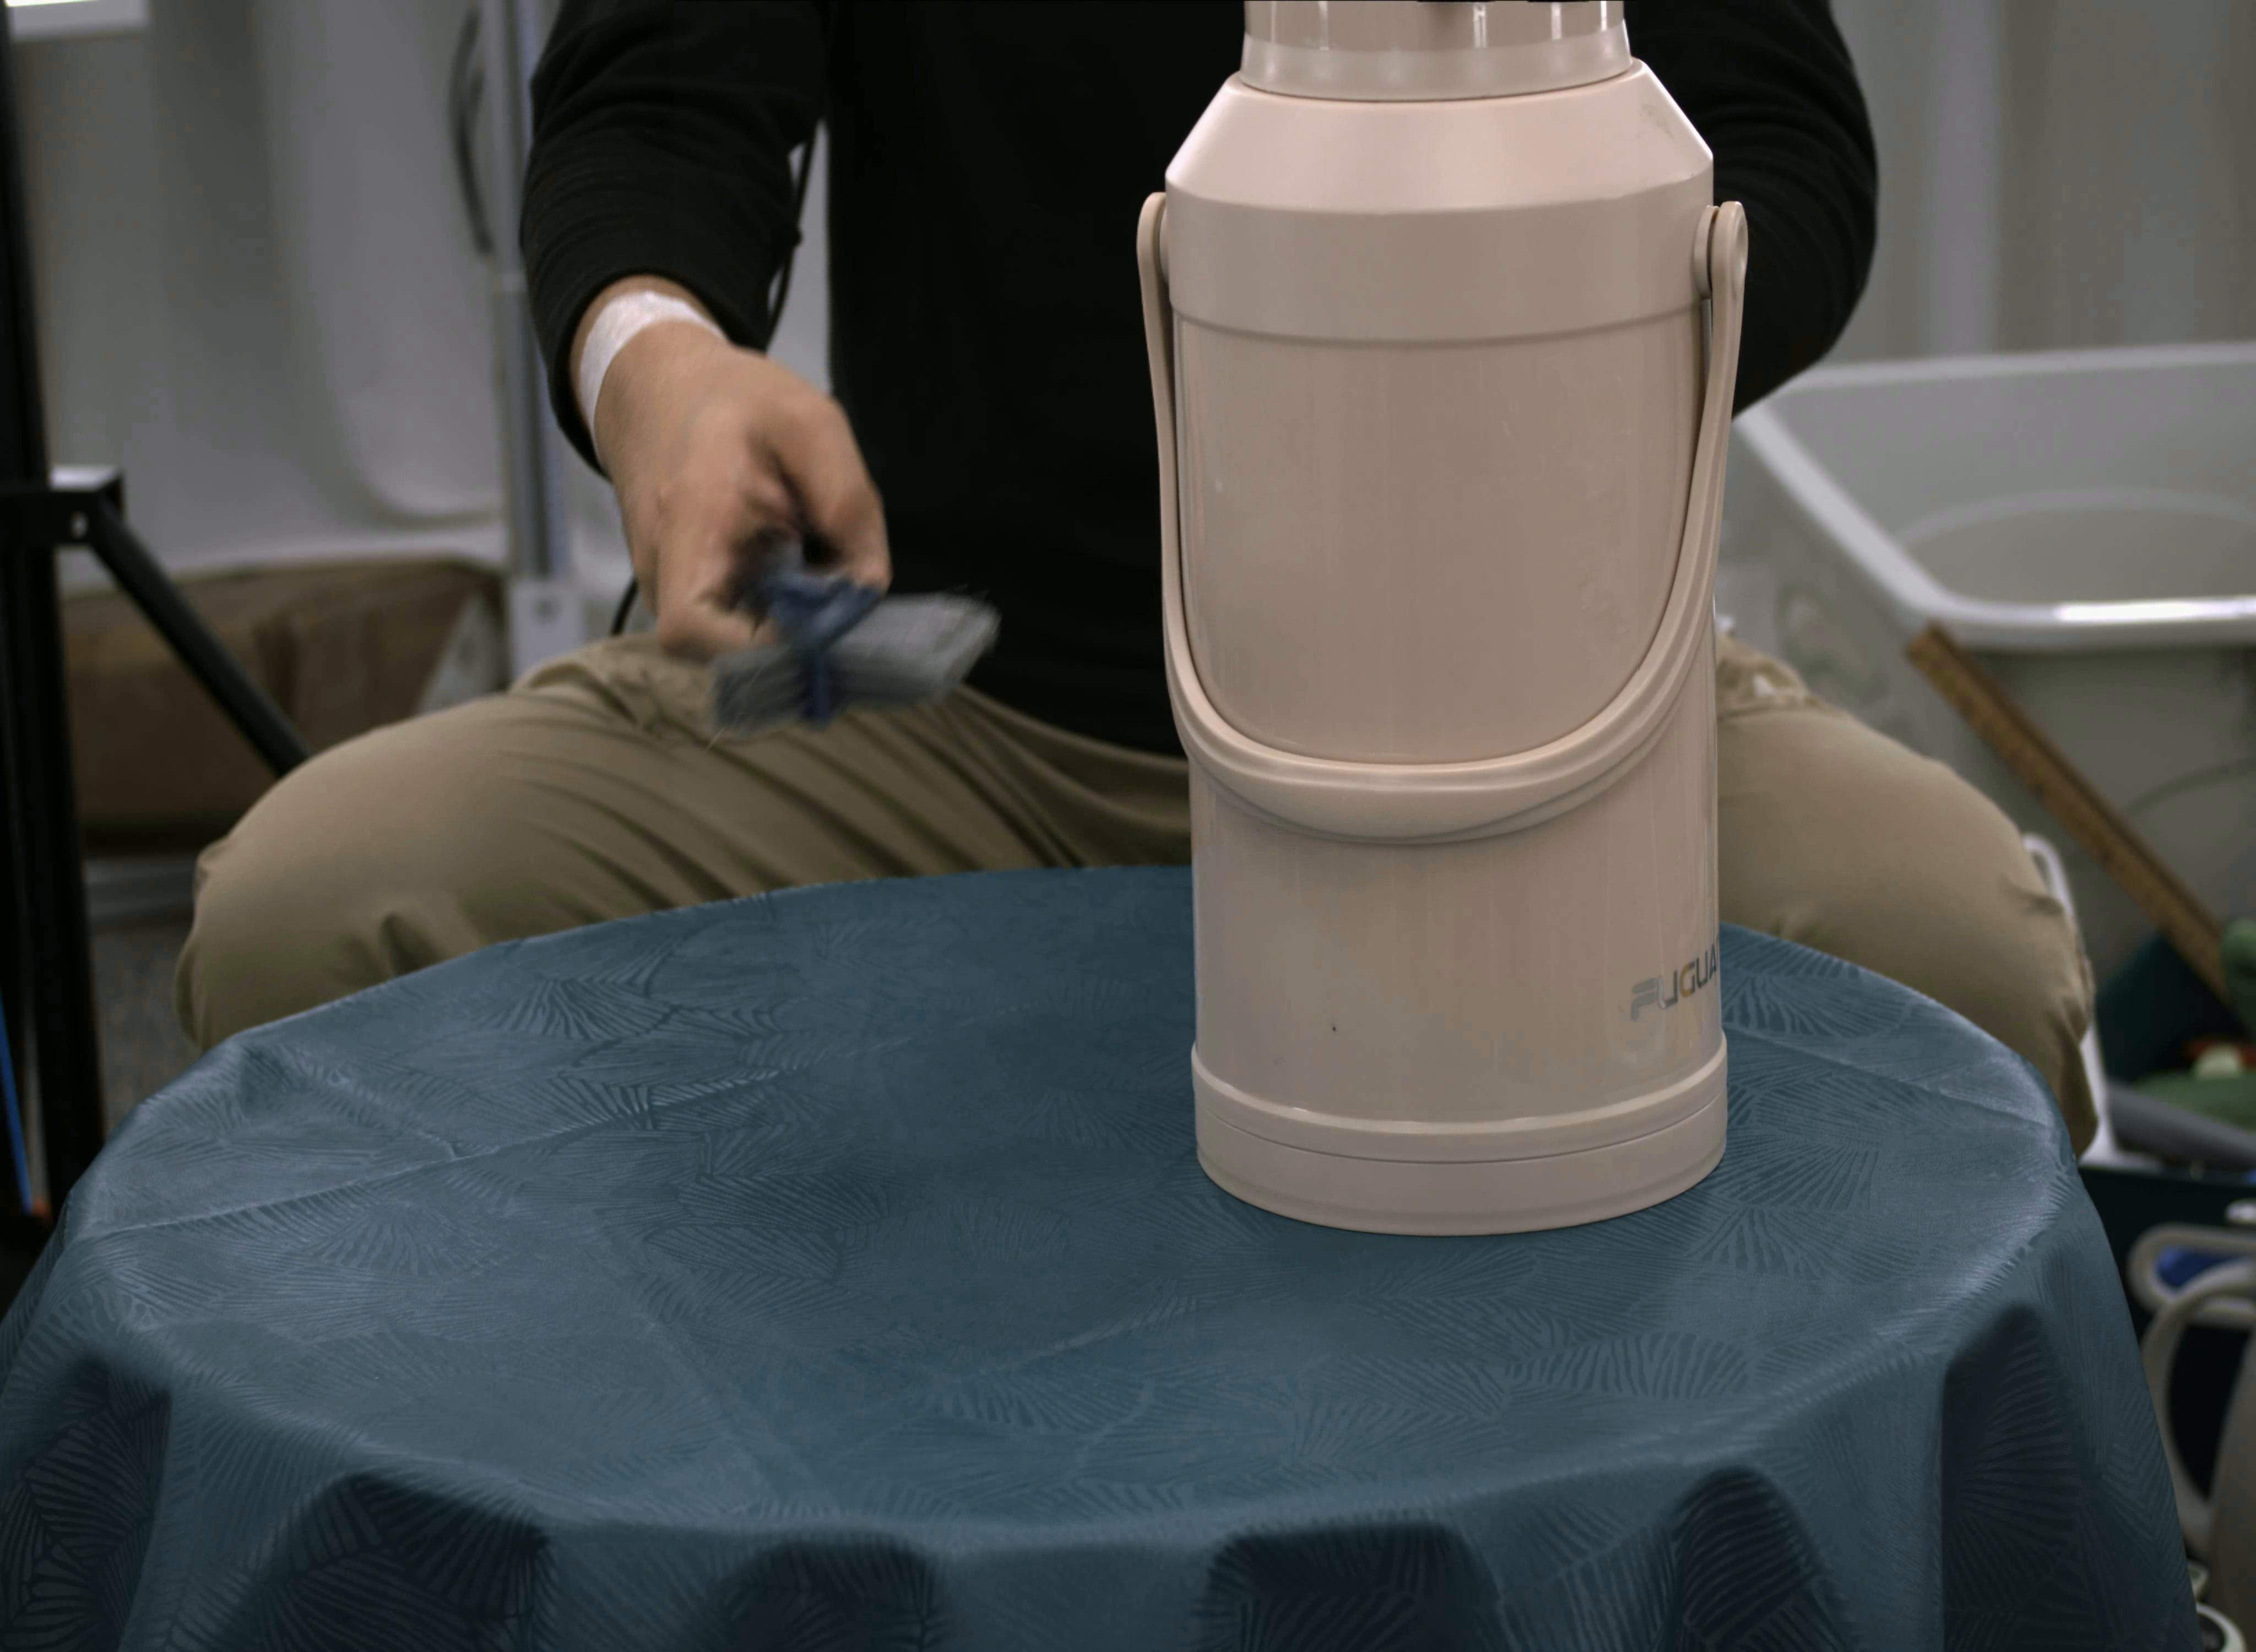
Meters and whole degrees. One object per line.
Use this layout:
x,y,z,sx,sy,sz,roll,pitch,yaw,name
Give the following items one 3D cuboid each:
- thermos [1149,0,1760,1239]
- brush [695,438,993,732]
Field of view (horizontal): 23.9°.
0.101,-0.098,1.544,0.177,0.406,0.205,2,16,19,thermos
-0.103,-0.074,1.568,0.094,0.033,0.277,-8,15,-13,brush
